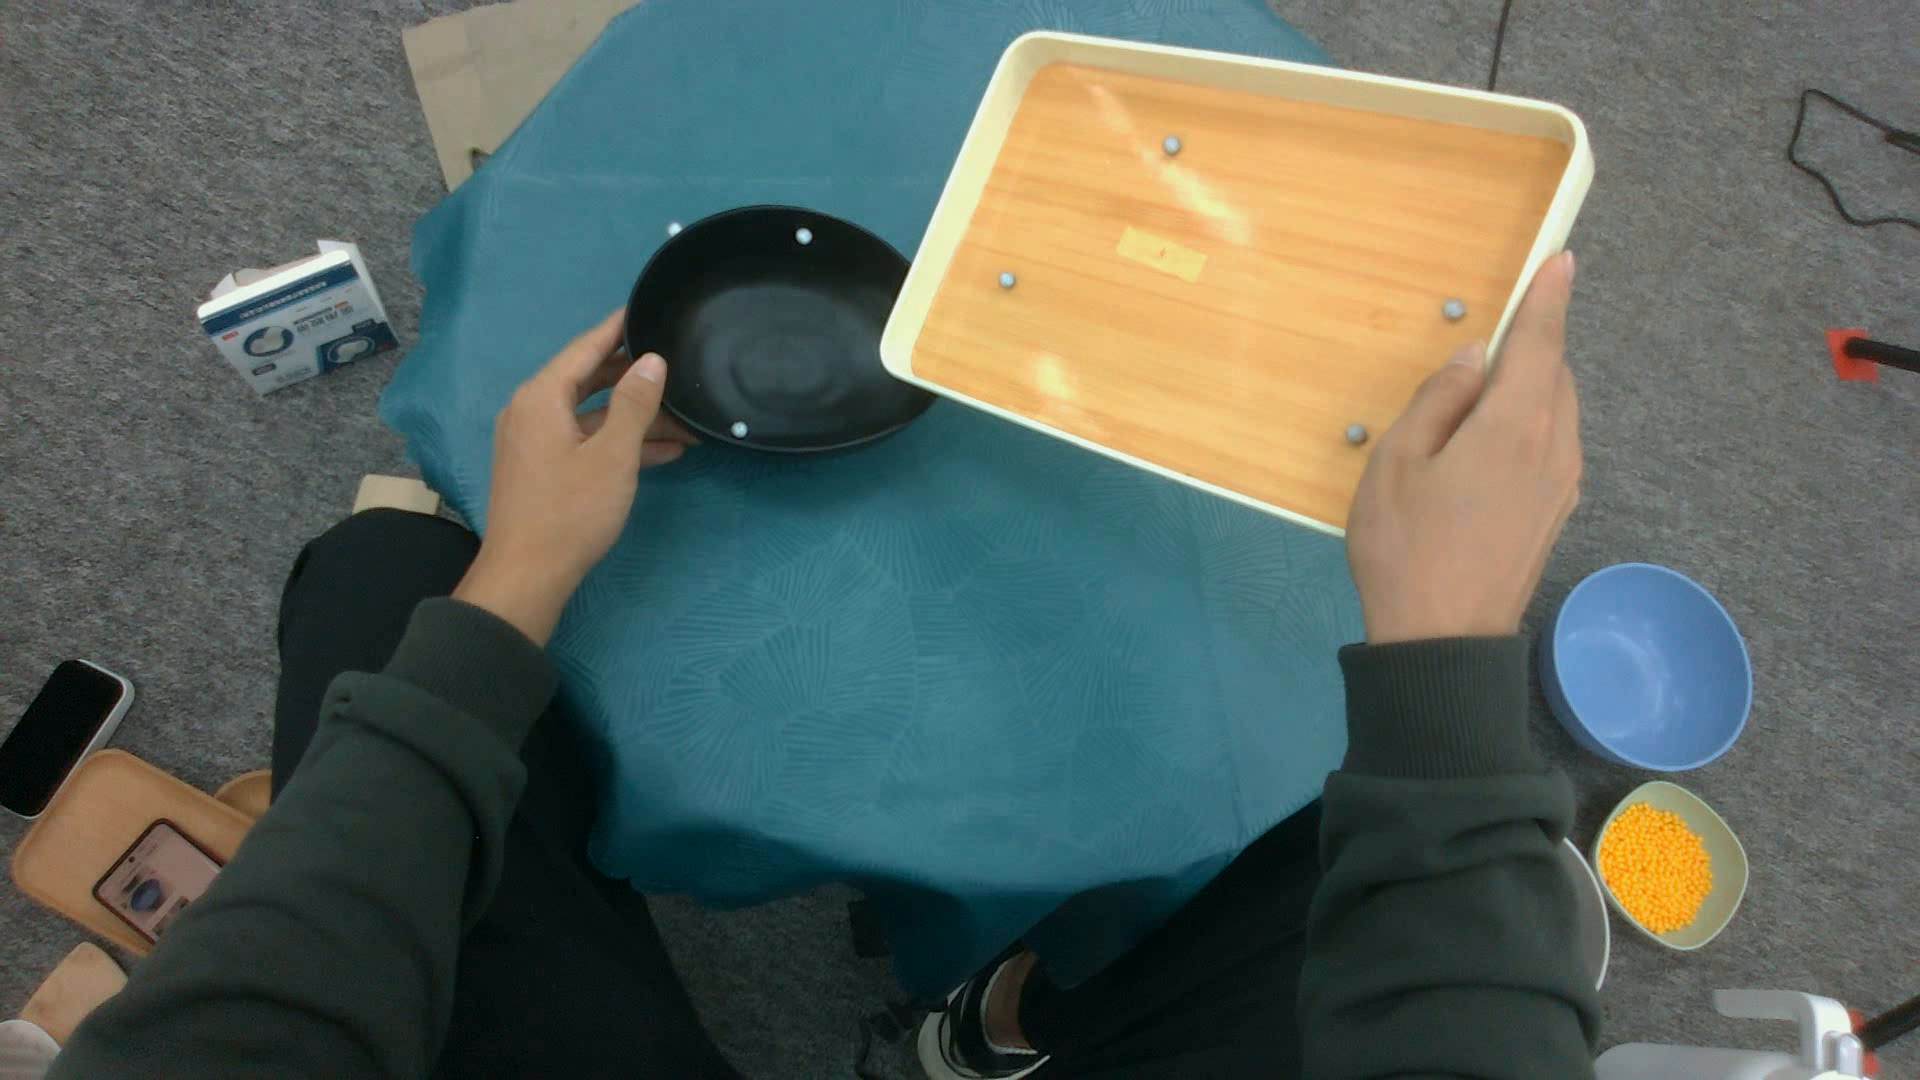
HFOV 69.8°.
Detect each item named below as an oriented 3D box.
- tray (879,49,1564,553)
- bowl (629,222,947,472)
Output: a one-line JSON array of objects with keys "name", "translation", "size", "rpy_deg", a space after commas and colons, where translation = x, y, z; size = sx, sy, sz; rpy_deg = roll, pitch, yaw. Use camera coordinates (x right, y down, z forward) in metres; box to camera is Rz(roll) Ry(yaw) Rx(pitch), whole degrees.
[{"name": "tray", "translation": [0.104, -0.125, 0.647], "size": [0.300, 0.027, 0.191], "rpy_deg": [23, 91, 37]}, {"name": "bowl", "translation": [-0.091, -0.096, 0.740], "size": [0.170, 0.066, 0.137], "rpy_deg": [-2, 74, -16]}]
